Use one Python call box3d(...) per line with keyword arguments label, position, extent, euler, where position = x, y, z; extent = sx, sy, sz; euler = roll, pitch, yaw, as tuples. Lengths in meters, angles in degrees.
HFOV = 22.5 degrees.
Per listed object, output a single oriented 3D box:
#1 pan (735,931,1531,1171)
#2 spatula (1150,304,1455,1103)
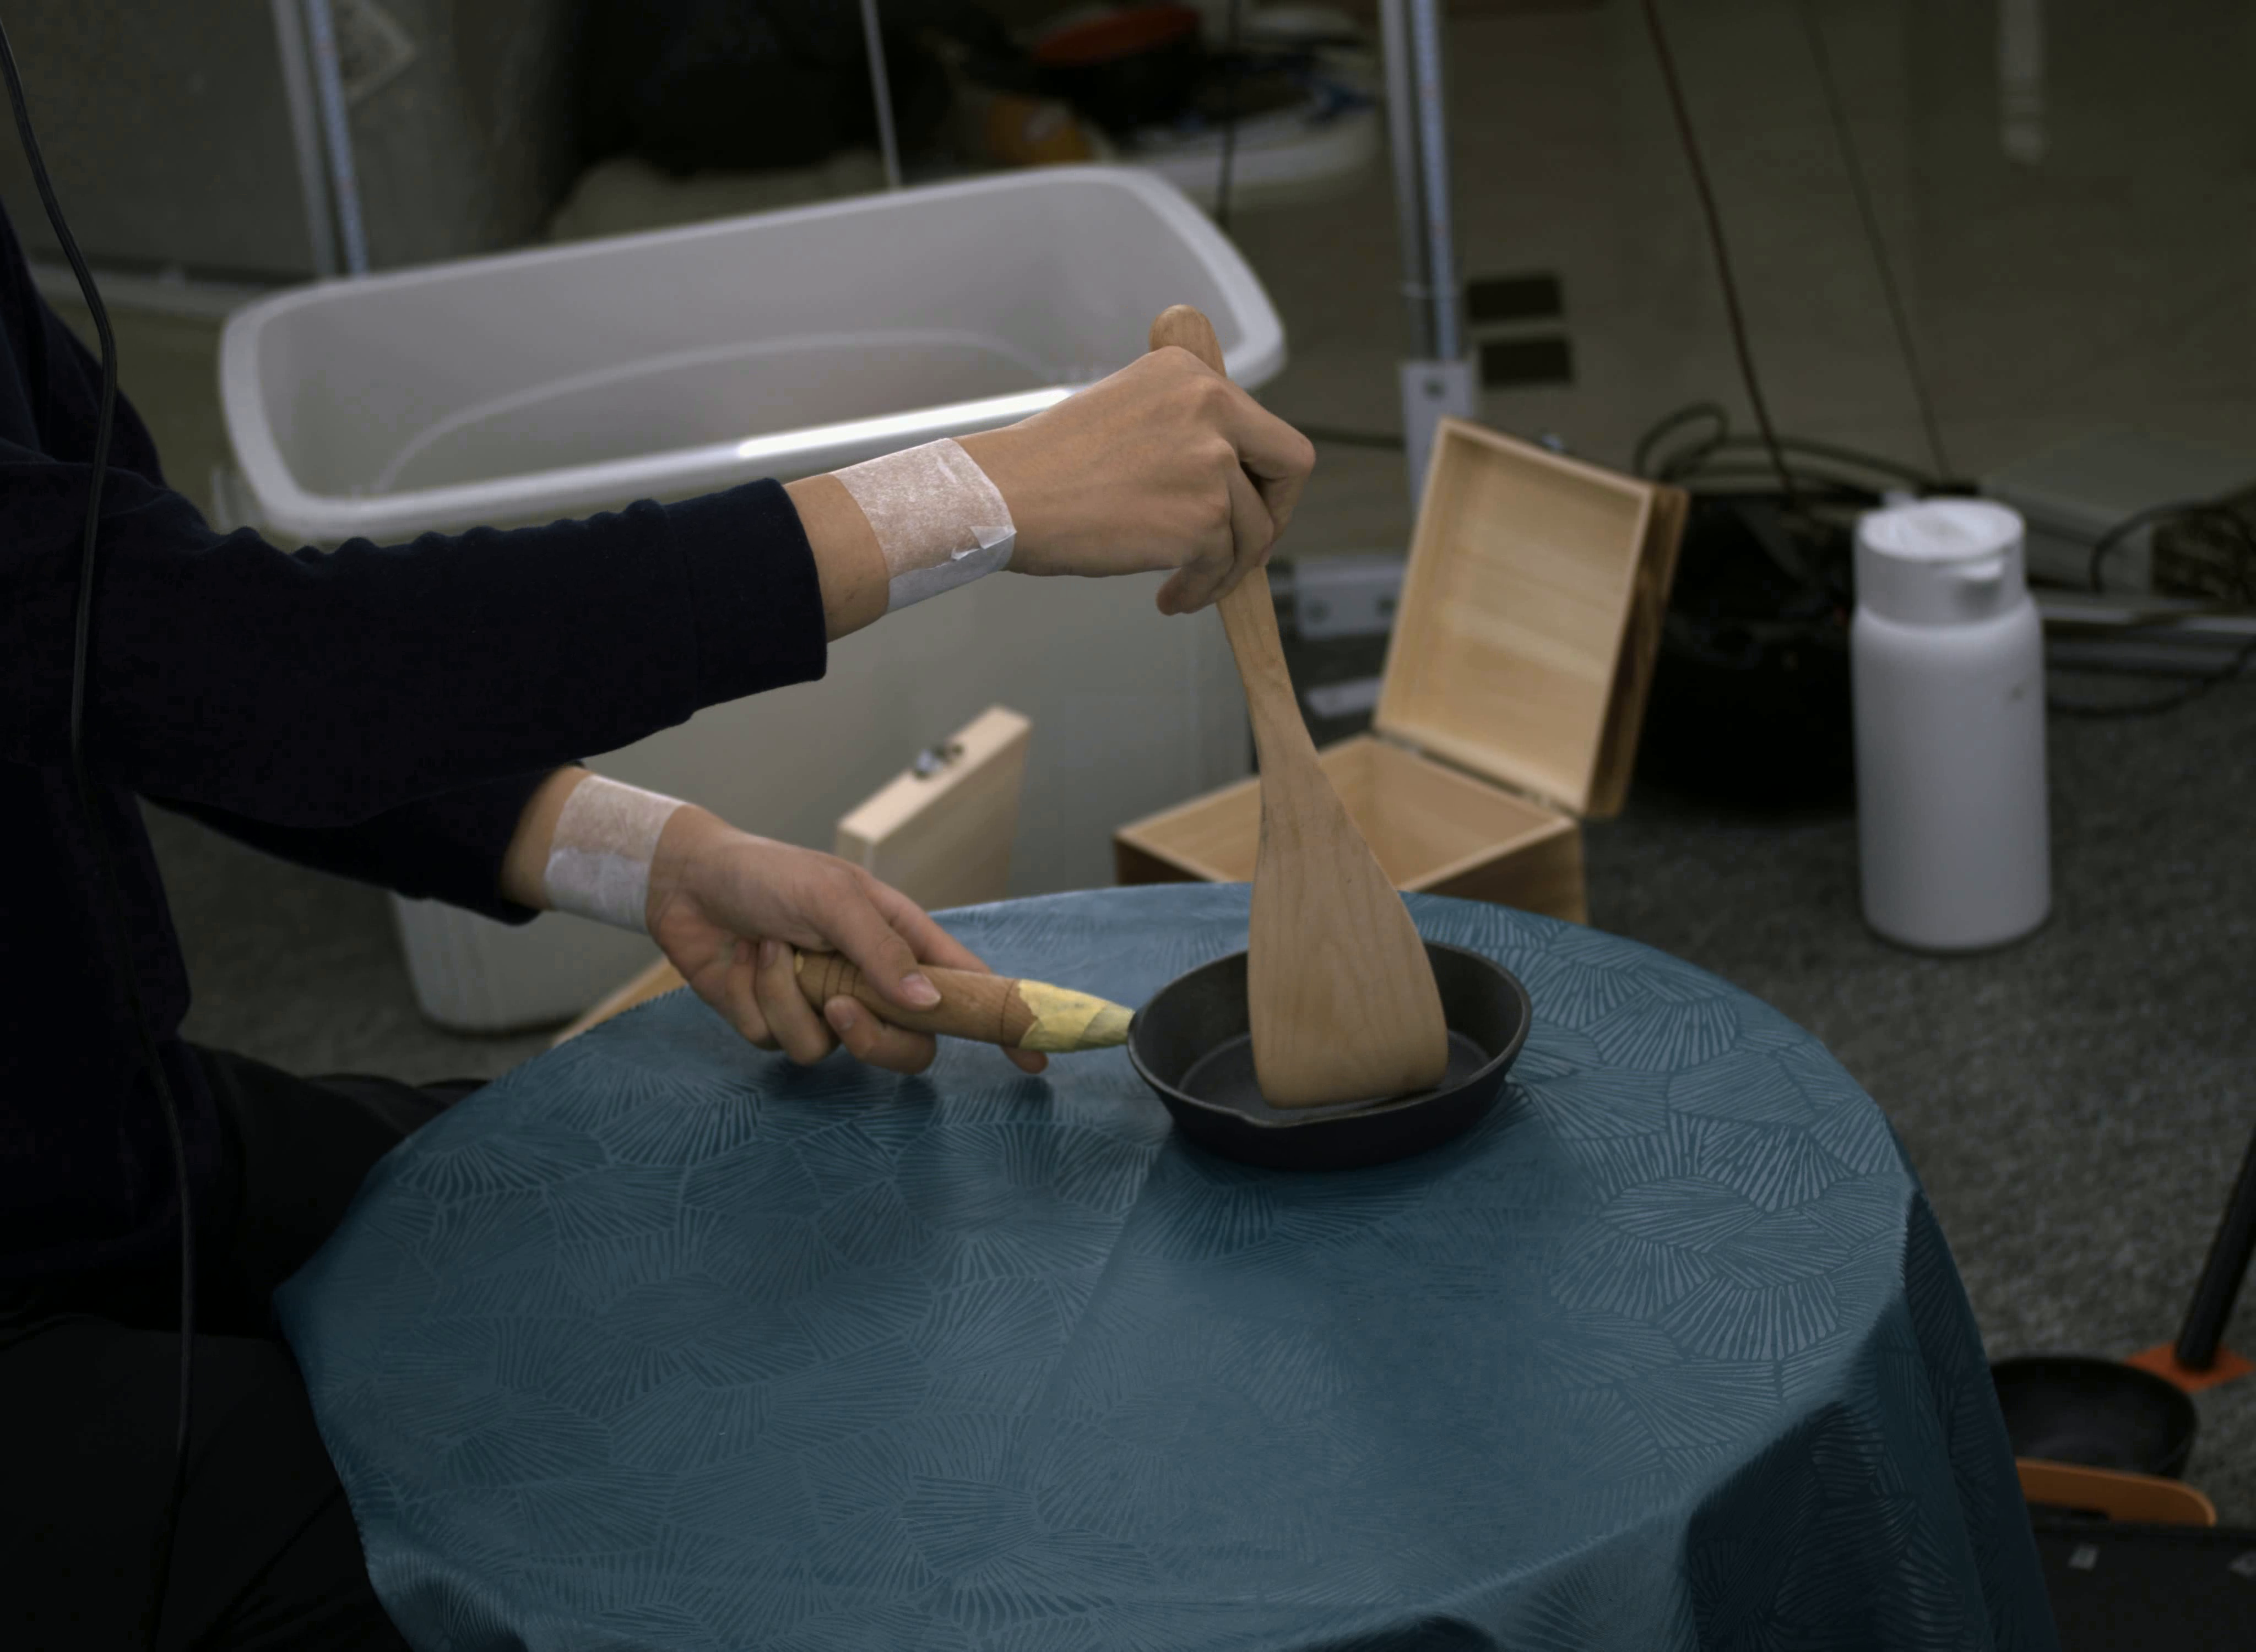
box3d(label="pan", position=(-0.001, 0.078, 2.216), extent=(0.323, 0.050, 0.166), euler=(4, 27, 19))
box3d(label="spatula", position=(0.055, -0.040, 2.129), extent=(0.079, 0.331, 0.016), euler=(-19, 19, -12))
